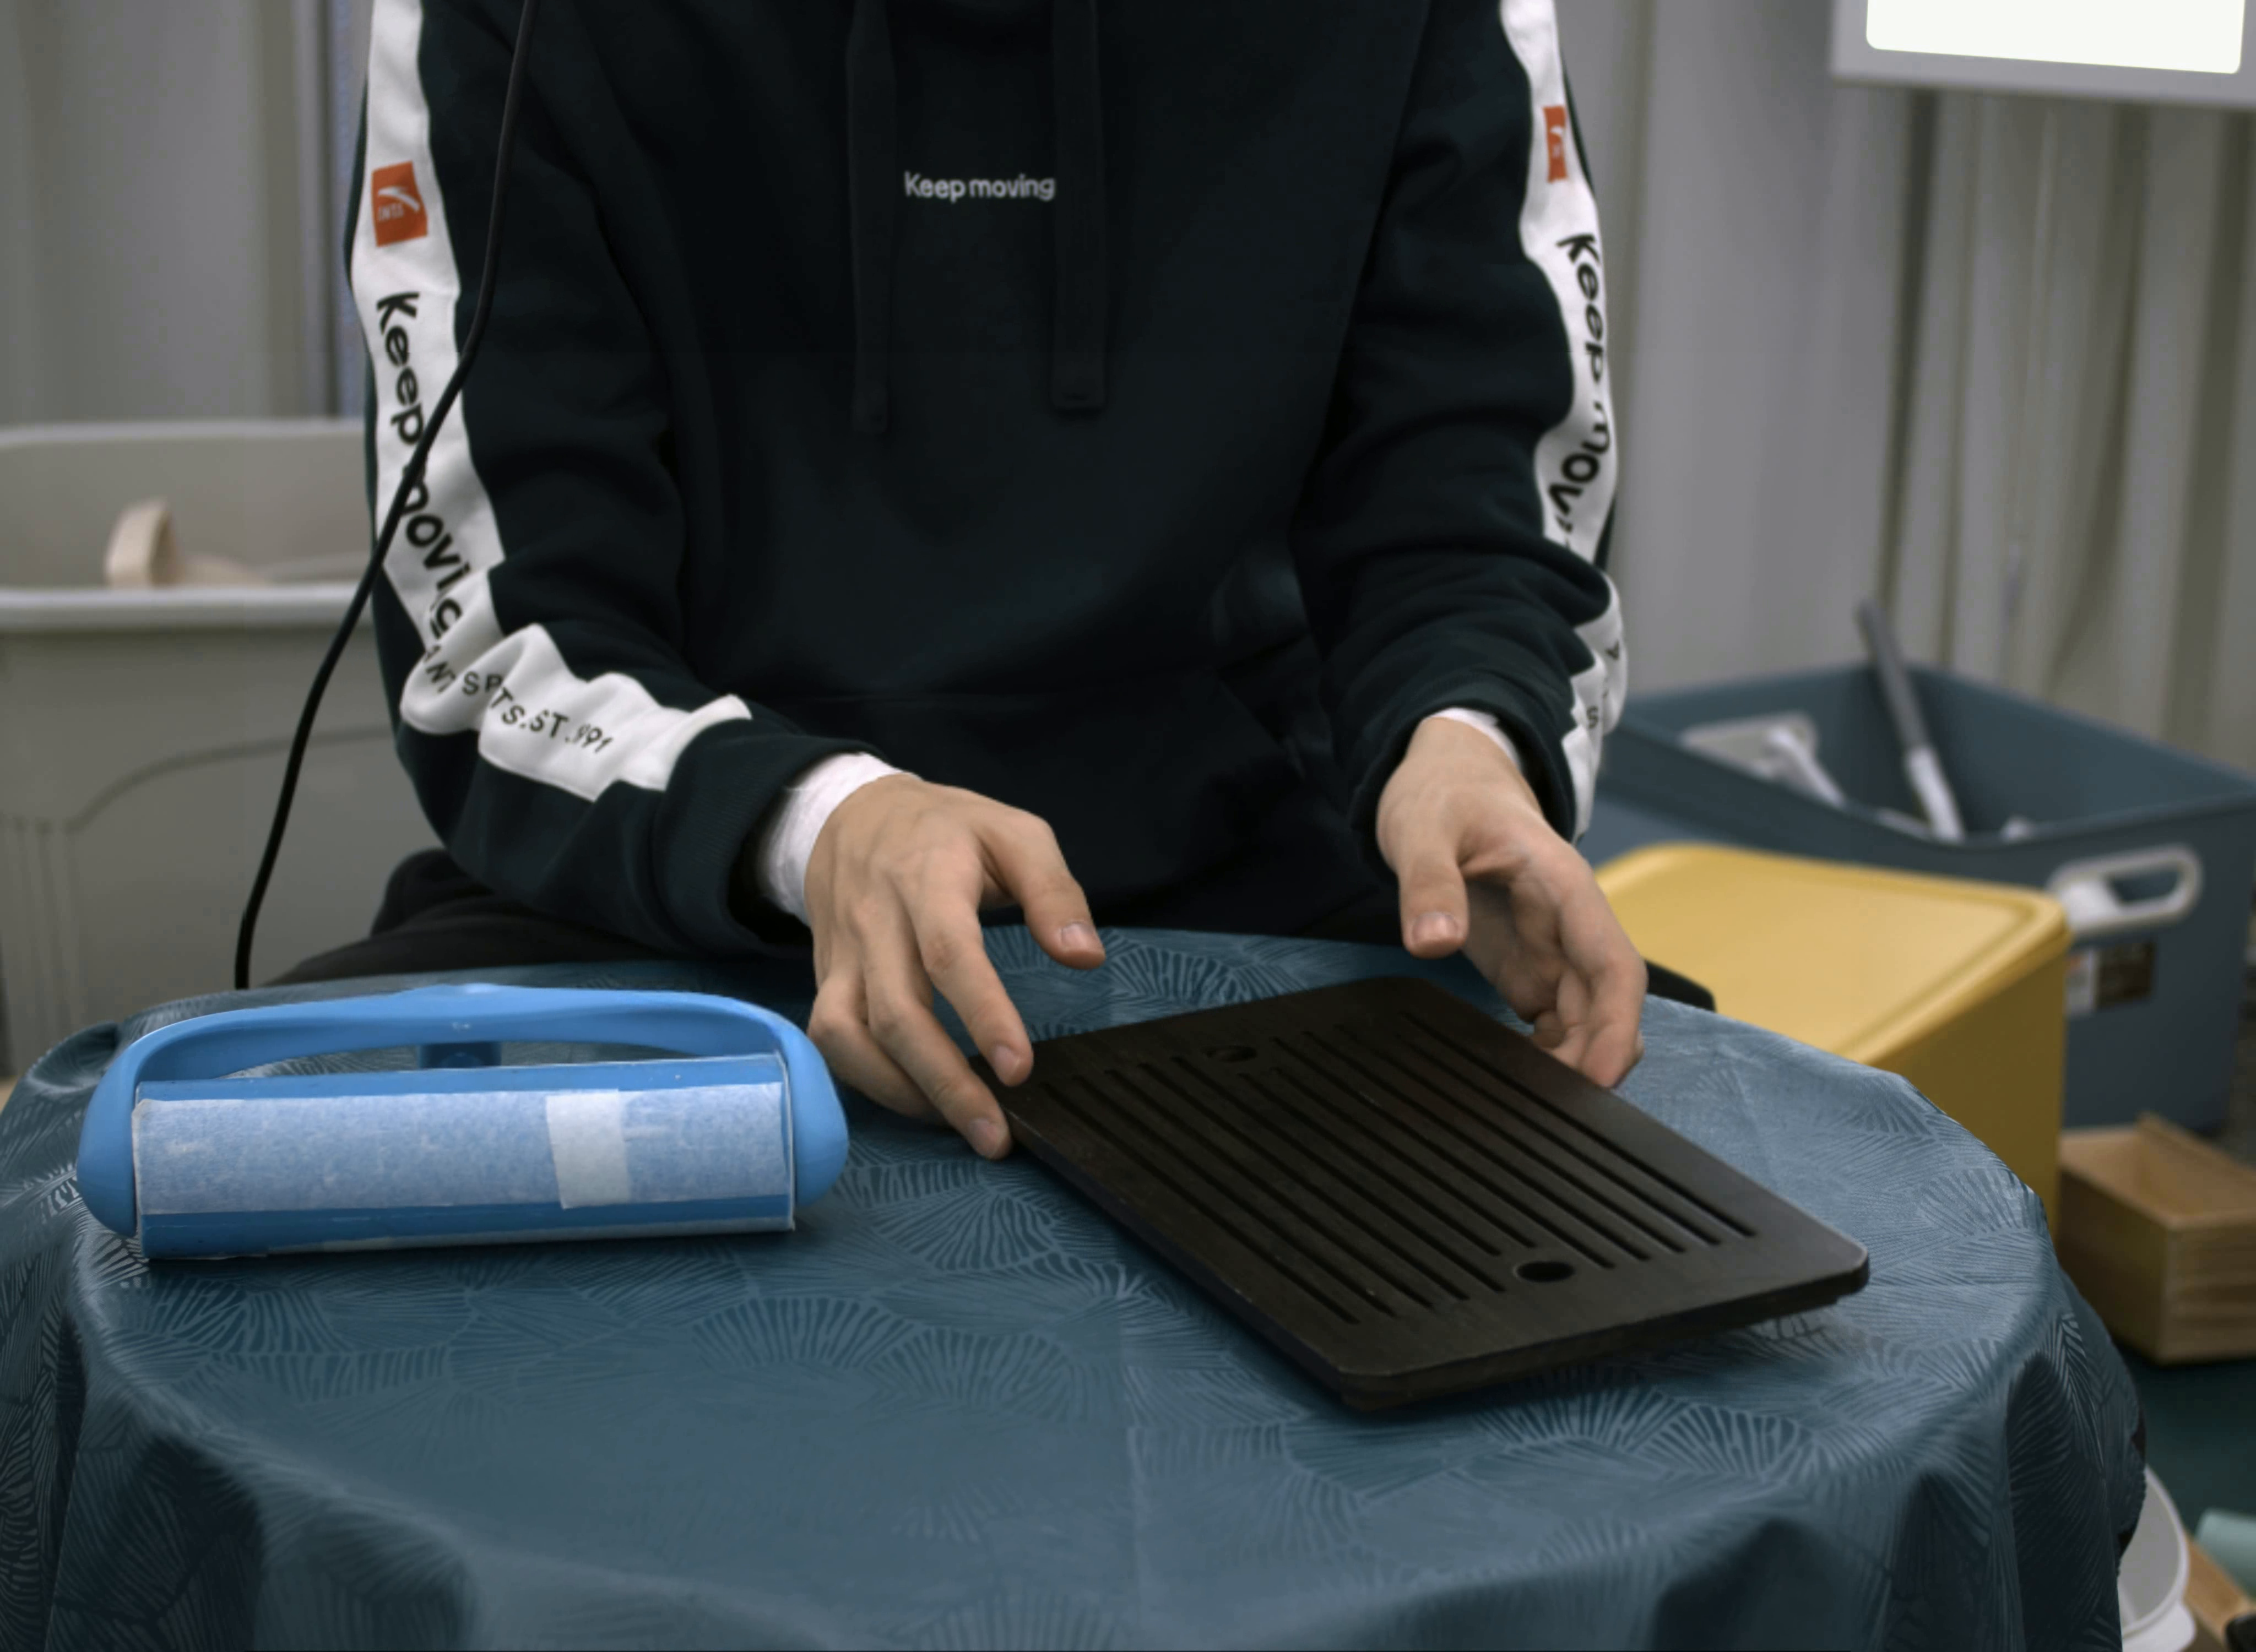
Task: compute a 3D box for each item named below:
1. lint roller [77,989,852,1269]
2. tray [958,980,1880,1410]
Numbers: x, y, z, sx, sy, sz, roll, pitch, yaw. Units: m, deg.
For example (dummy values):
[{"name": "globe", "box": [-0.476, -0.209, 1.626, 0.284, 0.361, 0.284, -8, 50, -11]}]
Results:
[{"name": "lint roller", "box": [-0.207, 0.081, 1.618, 0.229, 0.068, 0.178, -4, 18, -10]}, {"name": "tray", "box": [0.080, 0.107, 1.592, 0.170, 0.019, 0.302, -9, 18, -23]}]
